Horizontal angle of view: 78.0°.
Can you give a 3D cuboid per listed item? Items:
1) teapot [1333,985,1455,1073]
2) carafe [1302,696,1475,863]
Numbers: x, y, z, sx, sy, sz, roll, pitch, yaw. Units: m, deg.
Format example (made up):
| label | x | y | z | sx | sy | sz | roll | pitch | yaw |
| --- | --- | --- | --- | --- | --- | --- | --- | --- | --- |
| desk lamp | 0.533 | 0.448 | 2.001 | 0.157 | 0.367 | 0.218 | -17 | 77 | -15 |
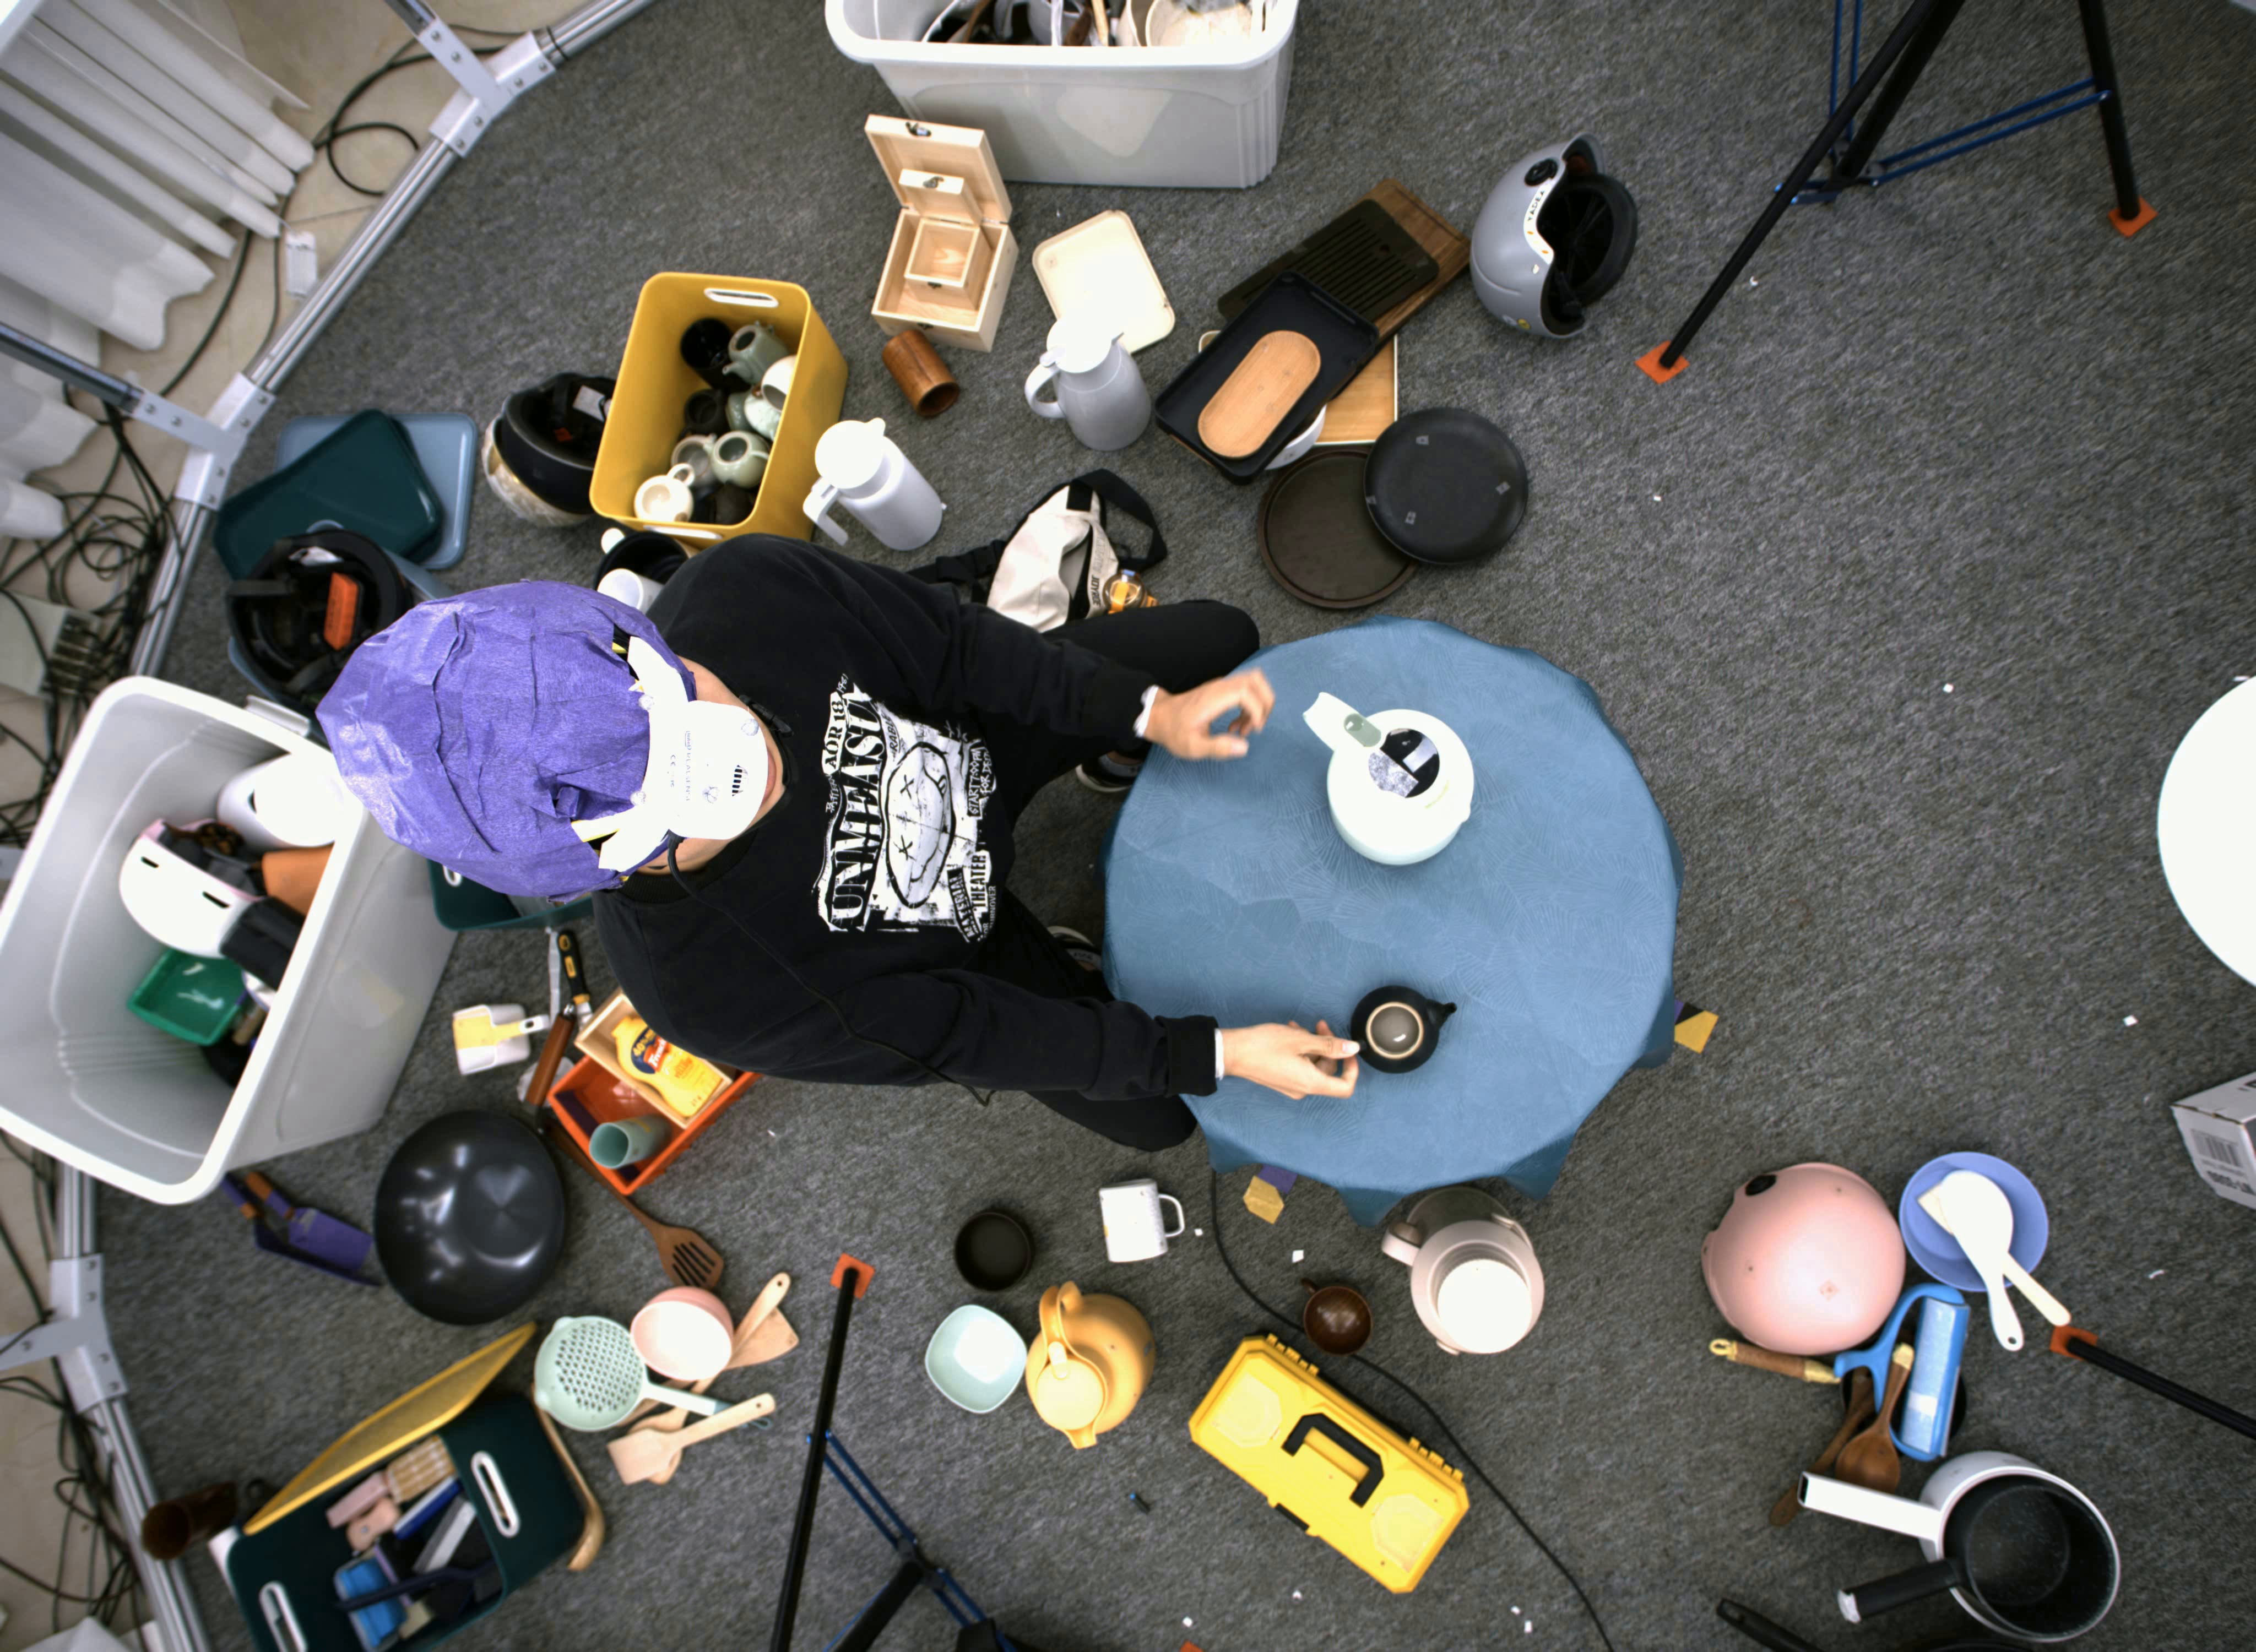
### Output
| label | x | y | z | sx | sy | sz | roll | pitch | yaw |
| --- | --- | --- | --- | --- | --- | --- | --- | --- | --- |
| teapot | 0.274 | 0.208 | 1.427 | 0.134 | 0.053 | 0.090 | -24 | 81 | 9 |
| carafe | 0.255 | -0.053 | 1.343 | 0.186 | 0.257 | 0.145 | 40 | 94 | 14 |
